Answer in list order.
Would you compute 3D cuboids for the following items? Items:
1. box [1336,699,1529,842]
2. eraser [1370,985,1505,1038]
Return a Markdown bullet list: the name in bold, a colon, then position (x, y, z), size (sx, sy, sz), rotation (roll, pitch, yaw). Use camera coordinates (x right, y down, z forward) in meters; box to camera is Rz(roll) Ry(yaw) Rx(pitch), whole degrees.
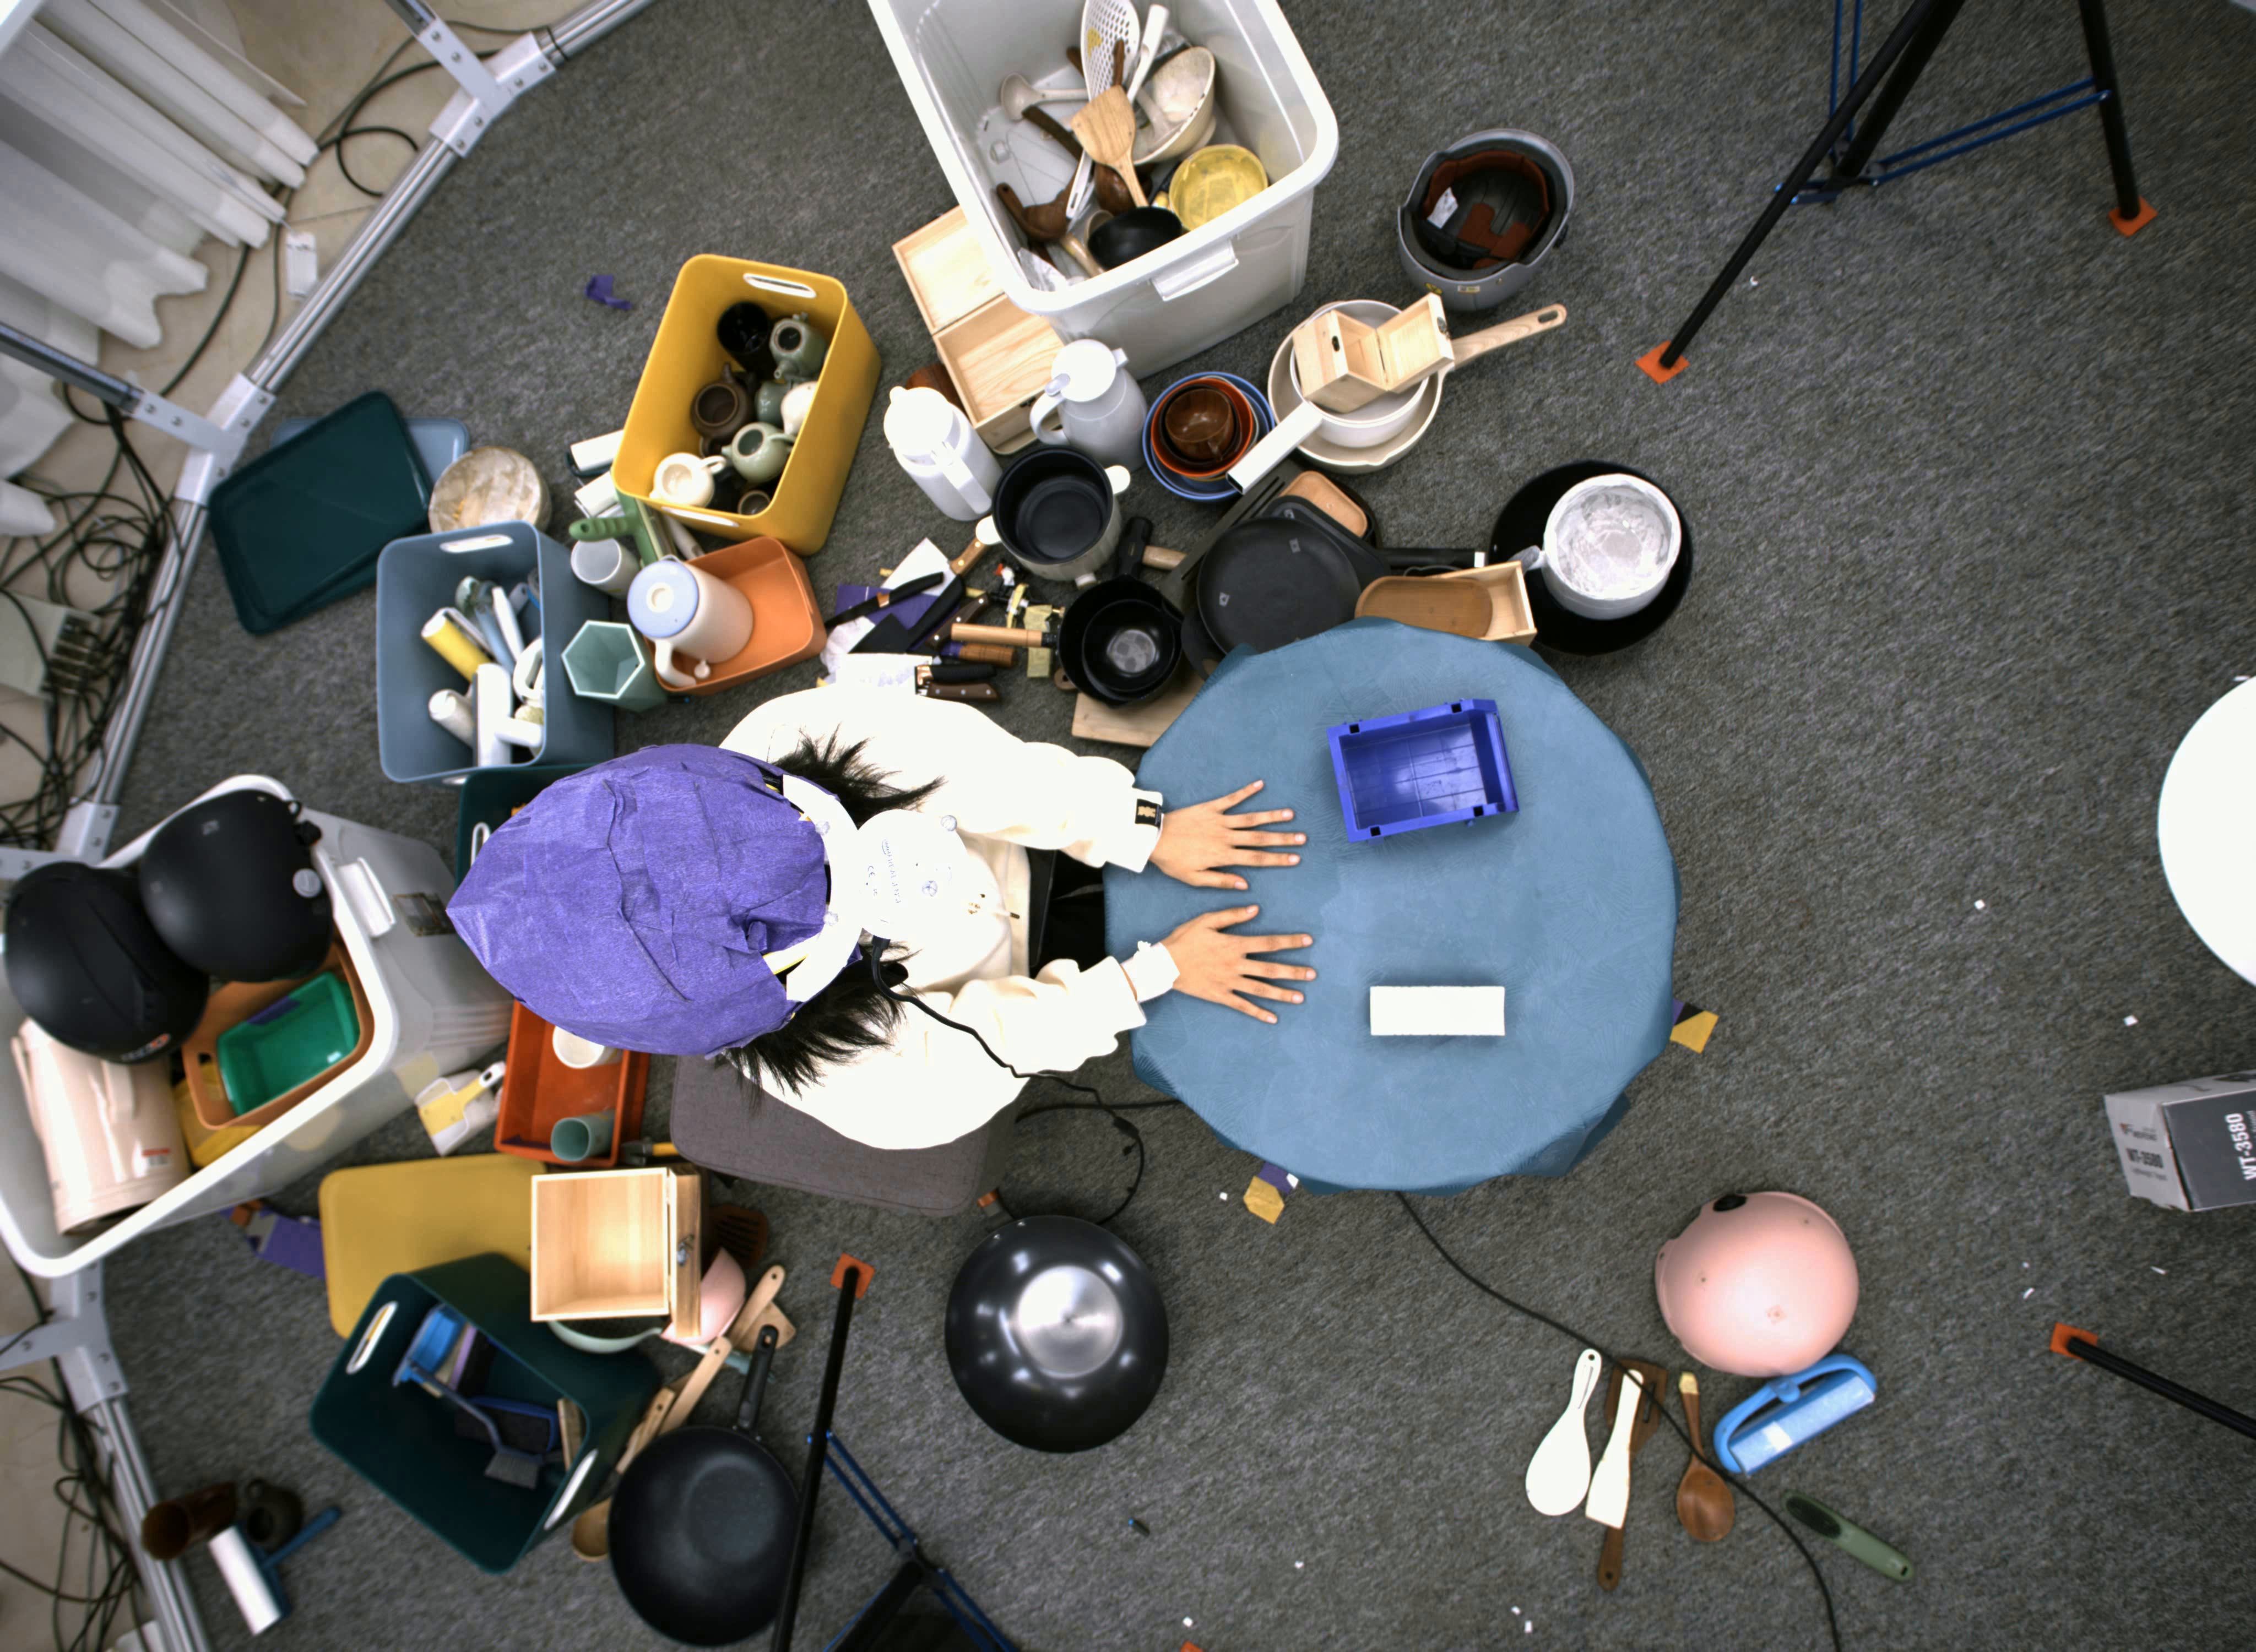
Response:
- **box**: position (0.315, -0.061, 1.418), size (0.180, 0.082, 0.124), rotation (-10, 84, 12)
- **eraser**: position (0.317, 0.189, 1.421), size (0.135, 0.046, 0.049), rotation (-3, 87, 9)
